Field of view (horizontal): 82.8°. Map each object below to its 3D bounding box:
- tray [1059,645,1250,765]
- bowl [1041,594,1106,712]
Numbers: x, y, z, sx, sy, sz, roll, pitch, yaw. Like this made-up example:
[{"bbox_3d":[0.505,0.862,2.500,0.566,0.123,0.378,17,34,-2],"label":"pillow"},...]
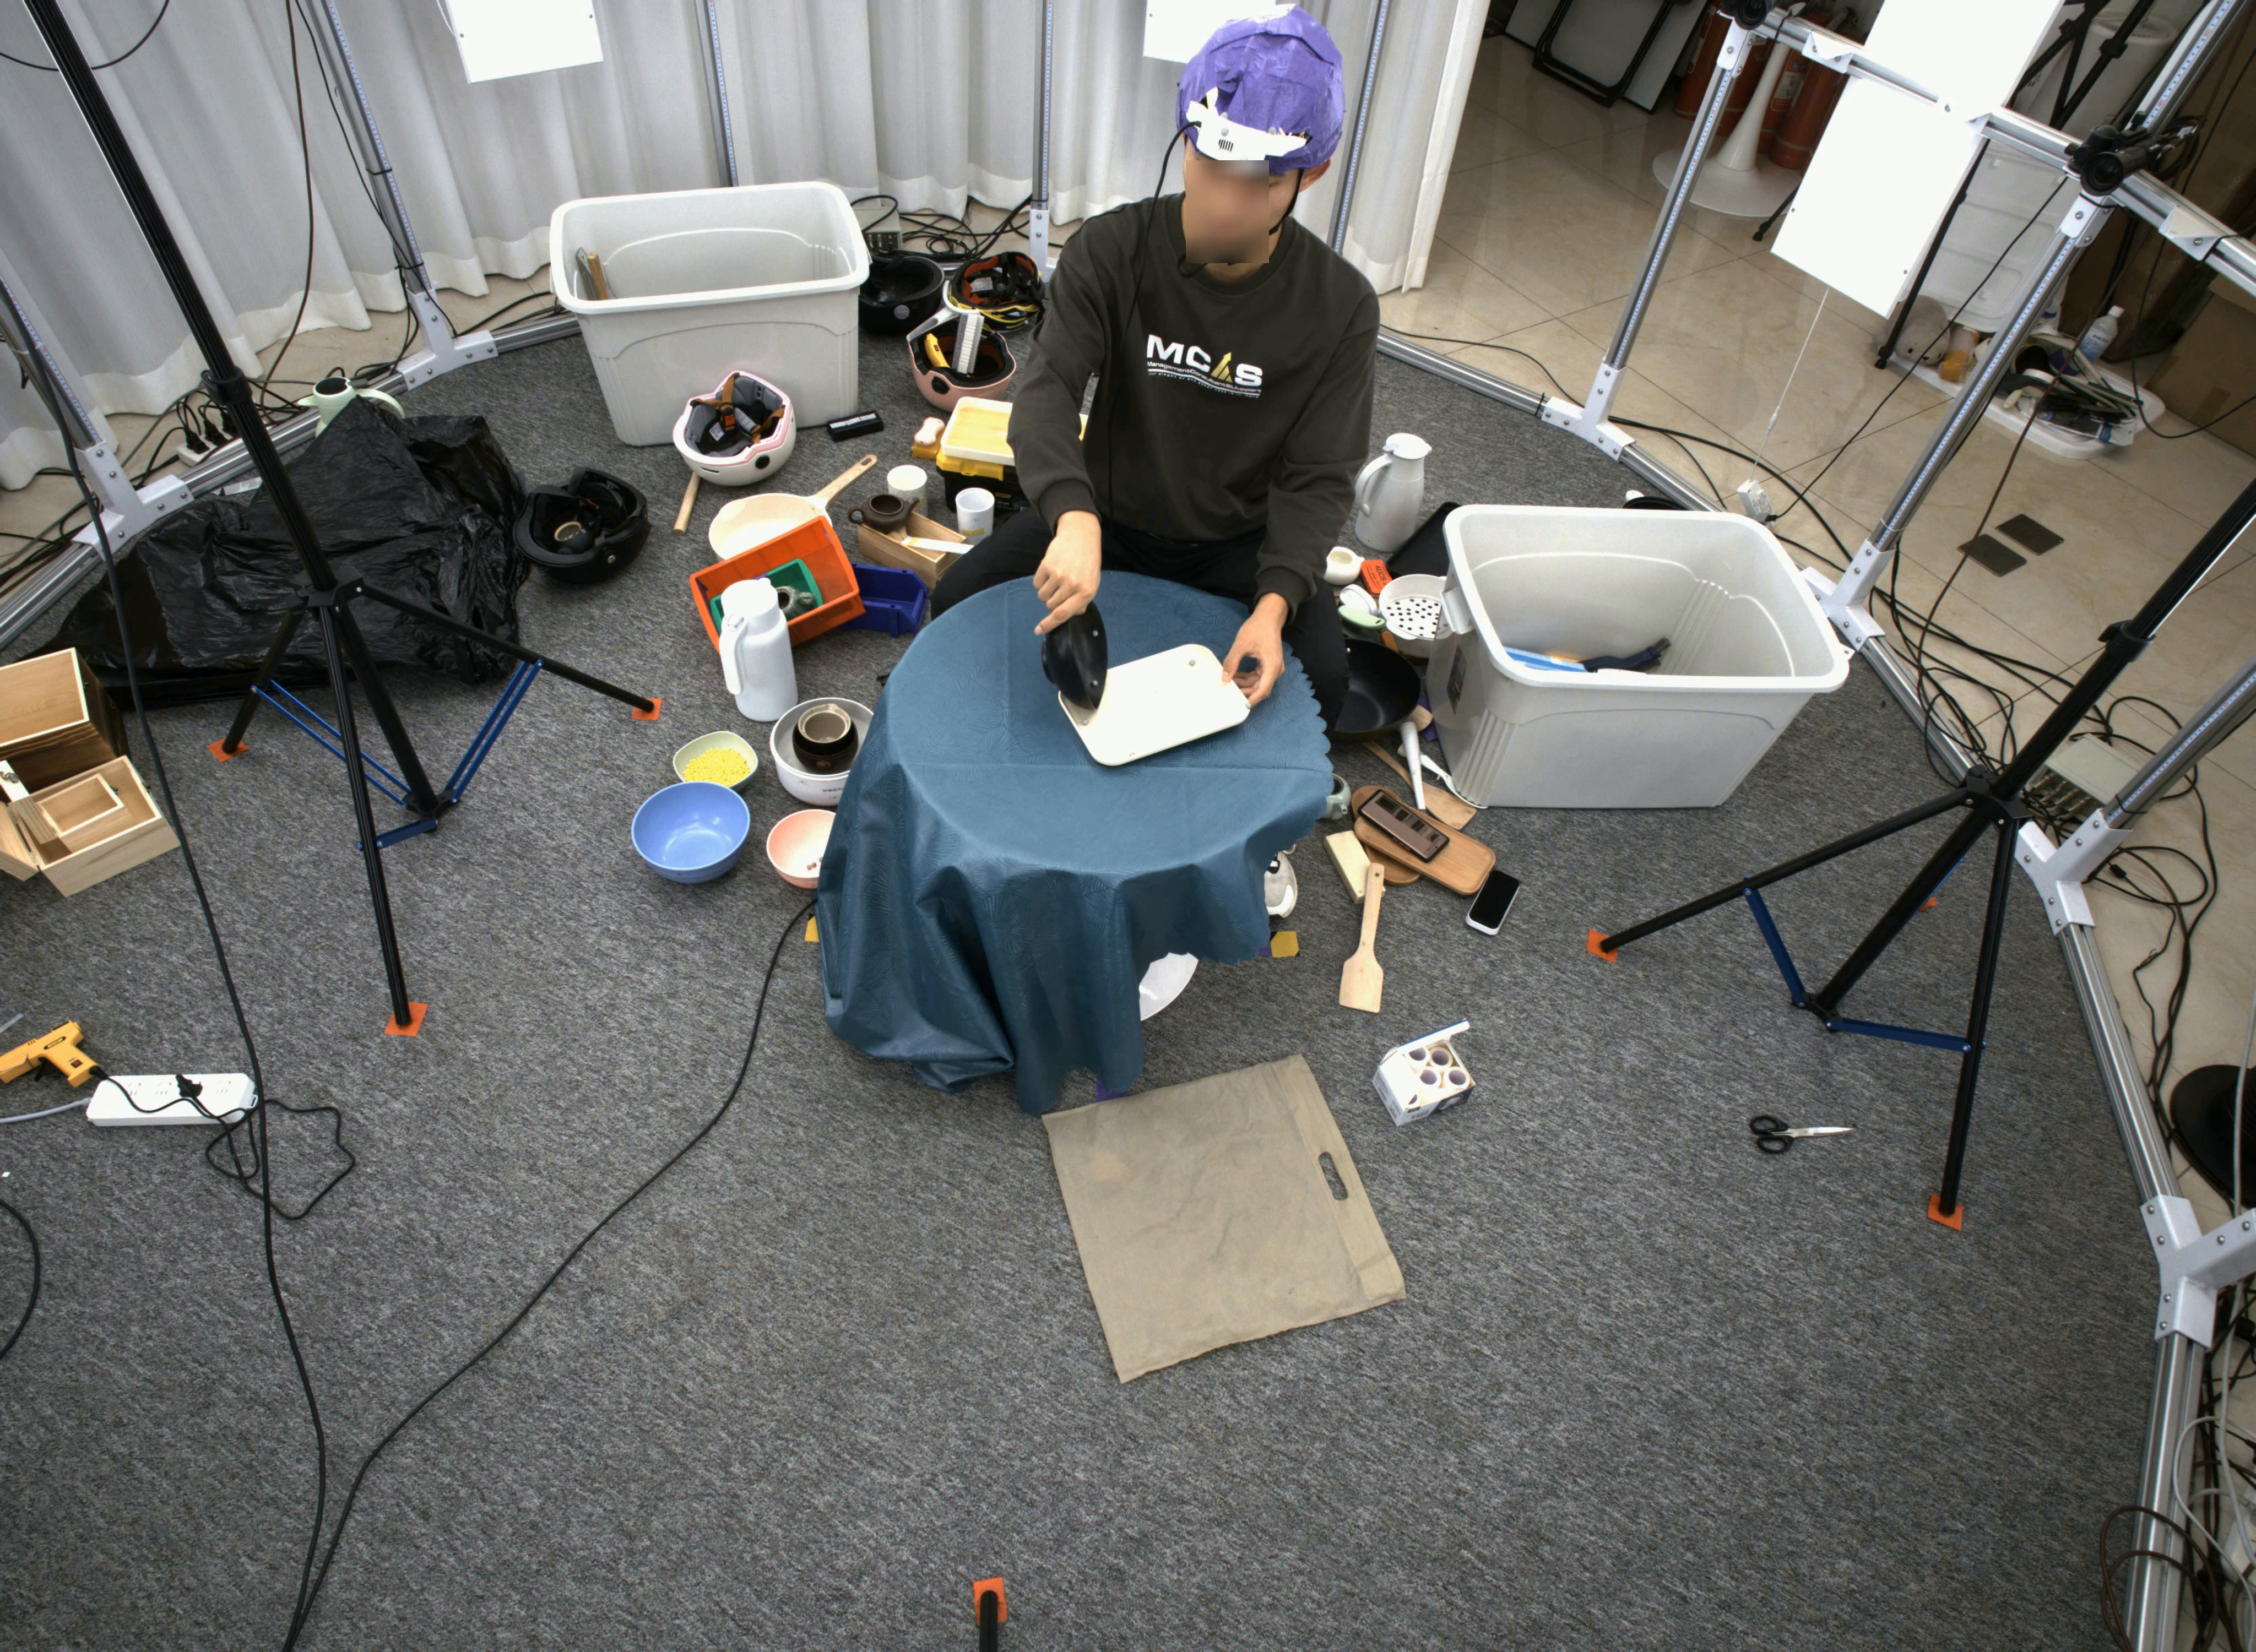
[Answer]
[{"bbox_3d":[0.037,-0.170,1.795,0.240,0.017,0.175,-19,51,-16],"label":"tray"},{"bbox_3d":[-0.078,-0.235,1.760,0.067,0.166,0.140,-2,43,18],"label":"bowl"}]
